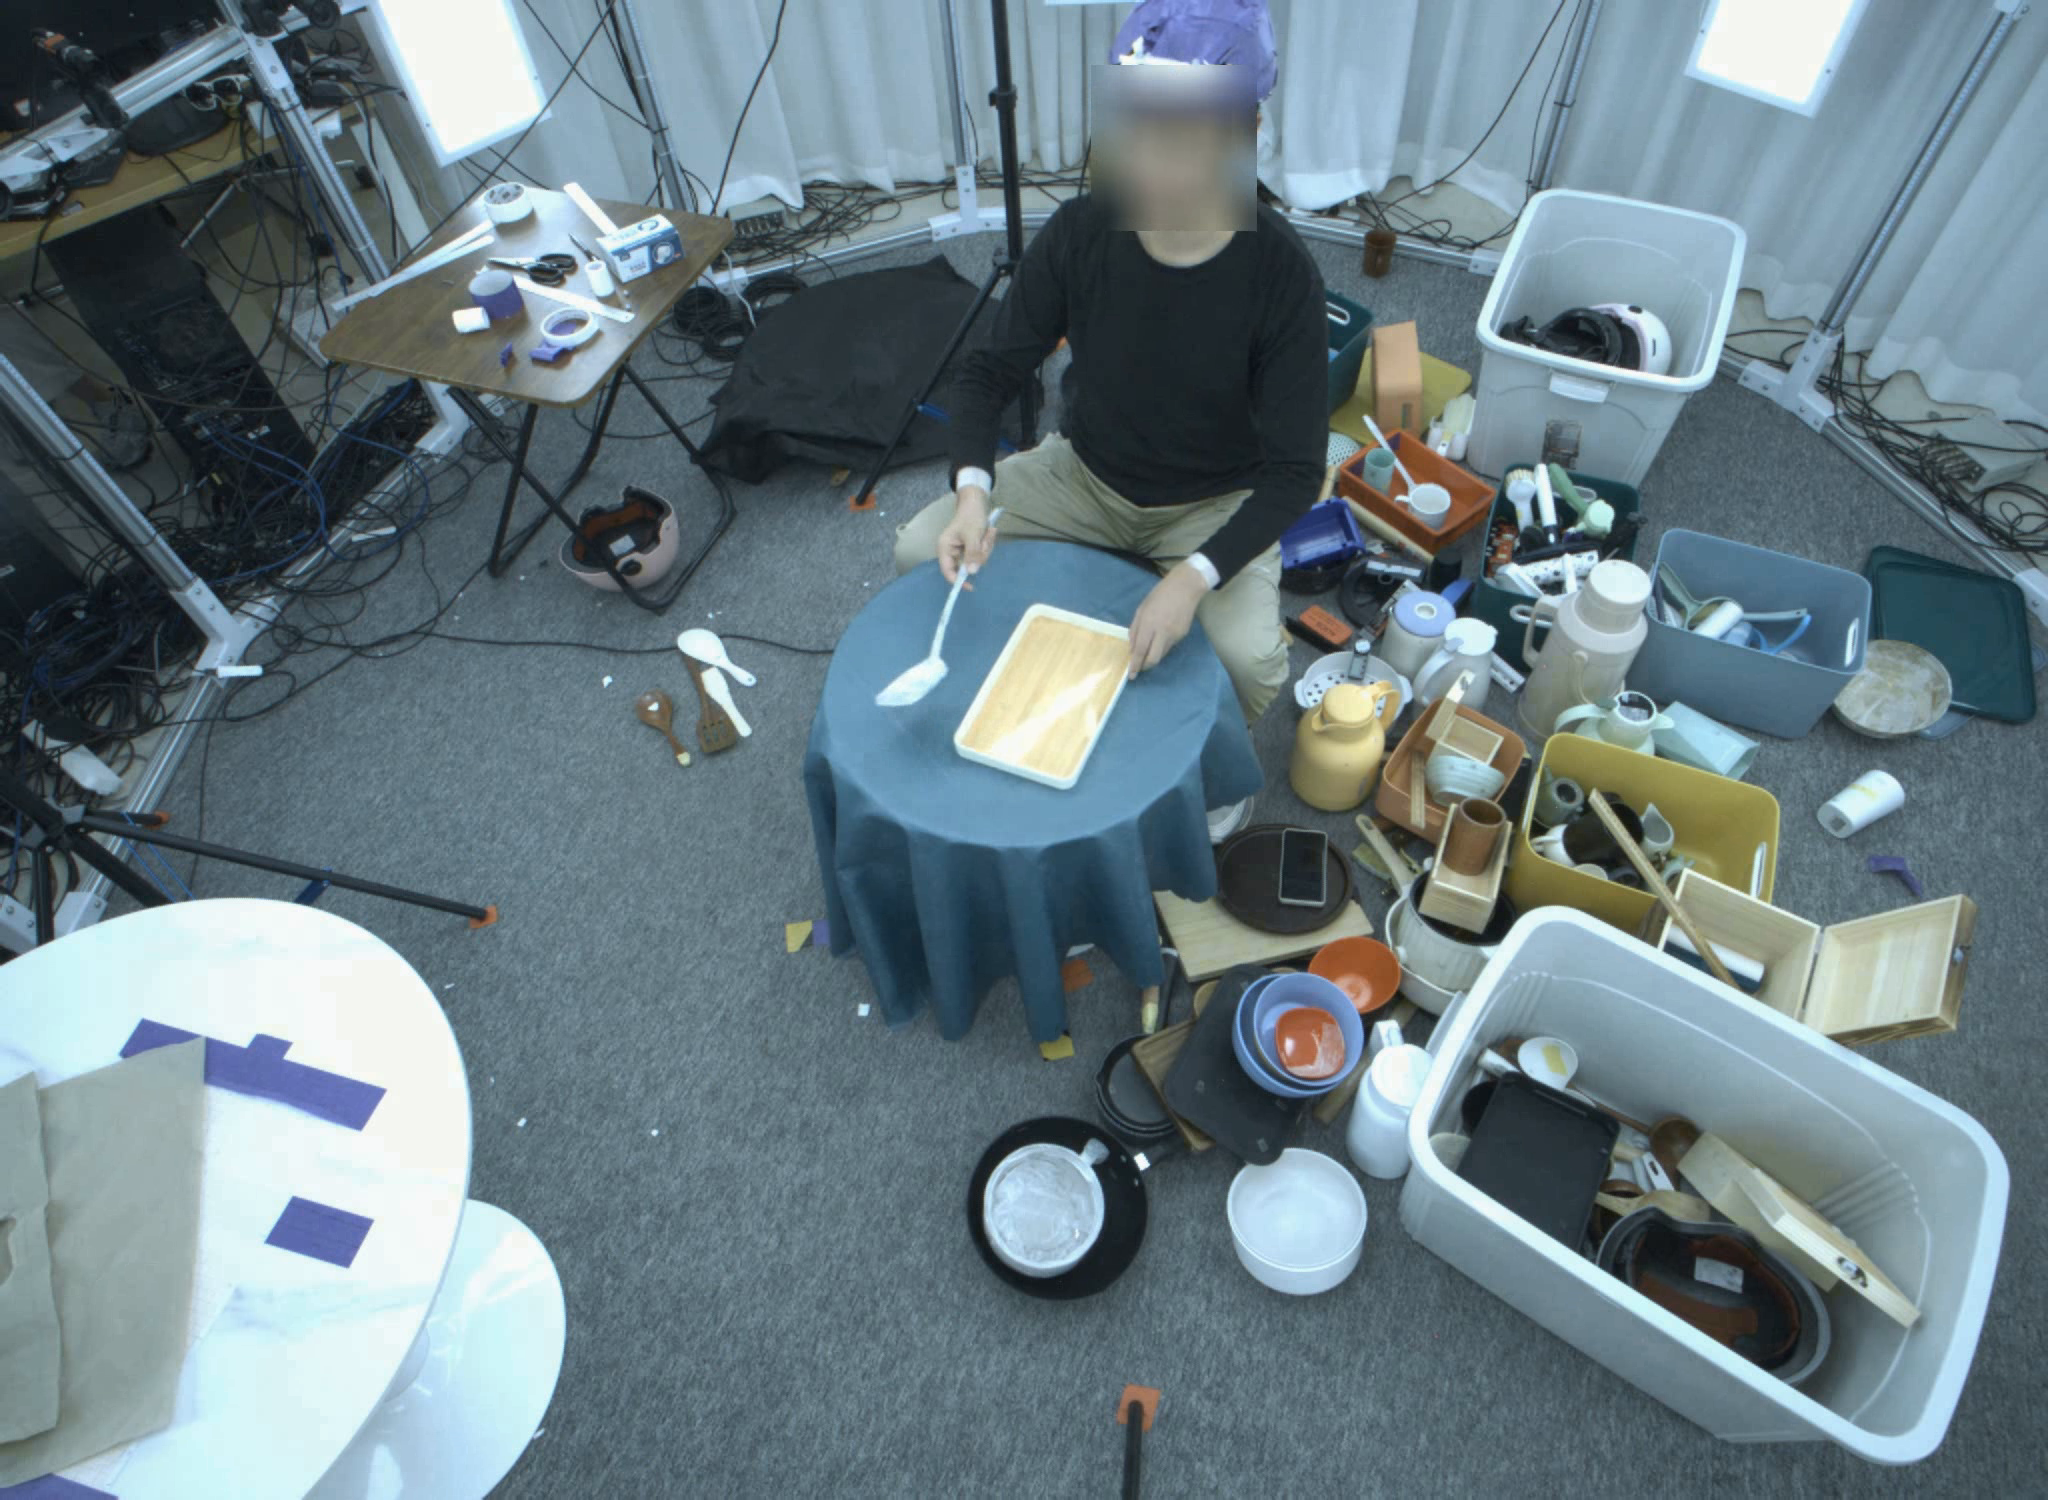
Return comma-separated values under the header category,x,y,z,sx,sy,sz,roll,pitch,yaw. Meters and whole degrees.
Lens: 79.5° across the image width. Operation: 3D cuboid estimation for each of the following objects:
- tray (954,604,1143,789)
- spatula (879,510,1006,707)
category,x,y,z,sx,sy,sz,roll,pitch,yaw
tray,0.041,-0.086,1.830,0.189,0.028,0.300,19,58,15
spatula,-0.107,-0.213,1.785,0.096,0.046,0.364,3,65,40
